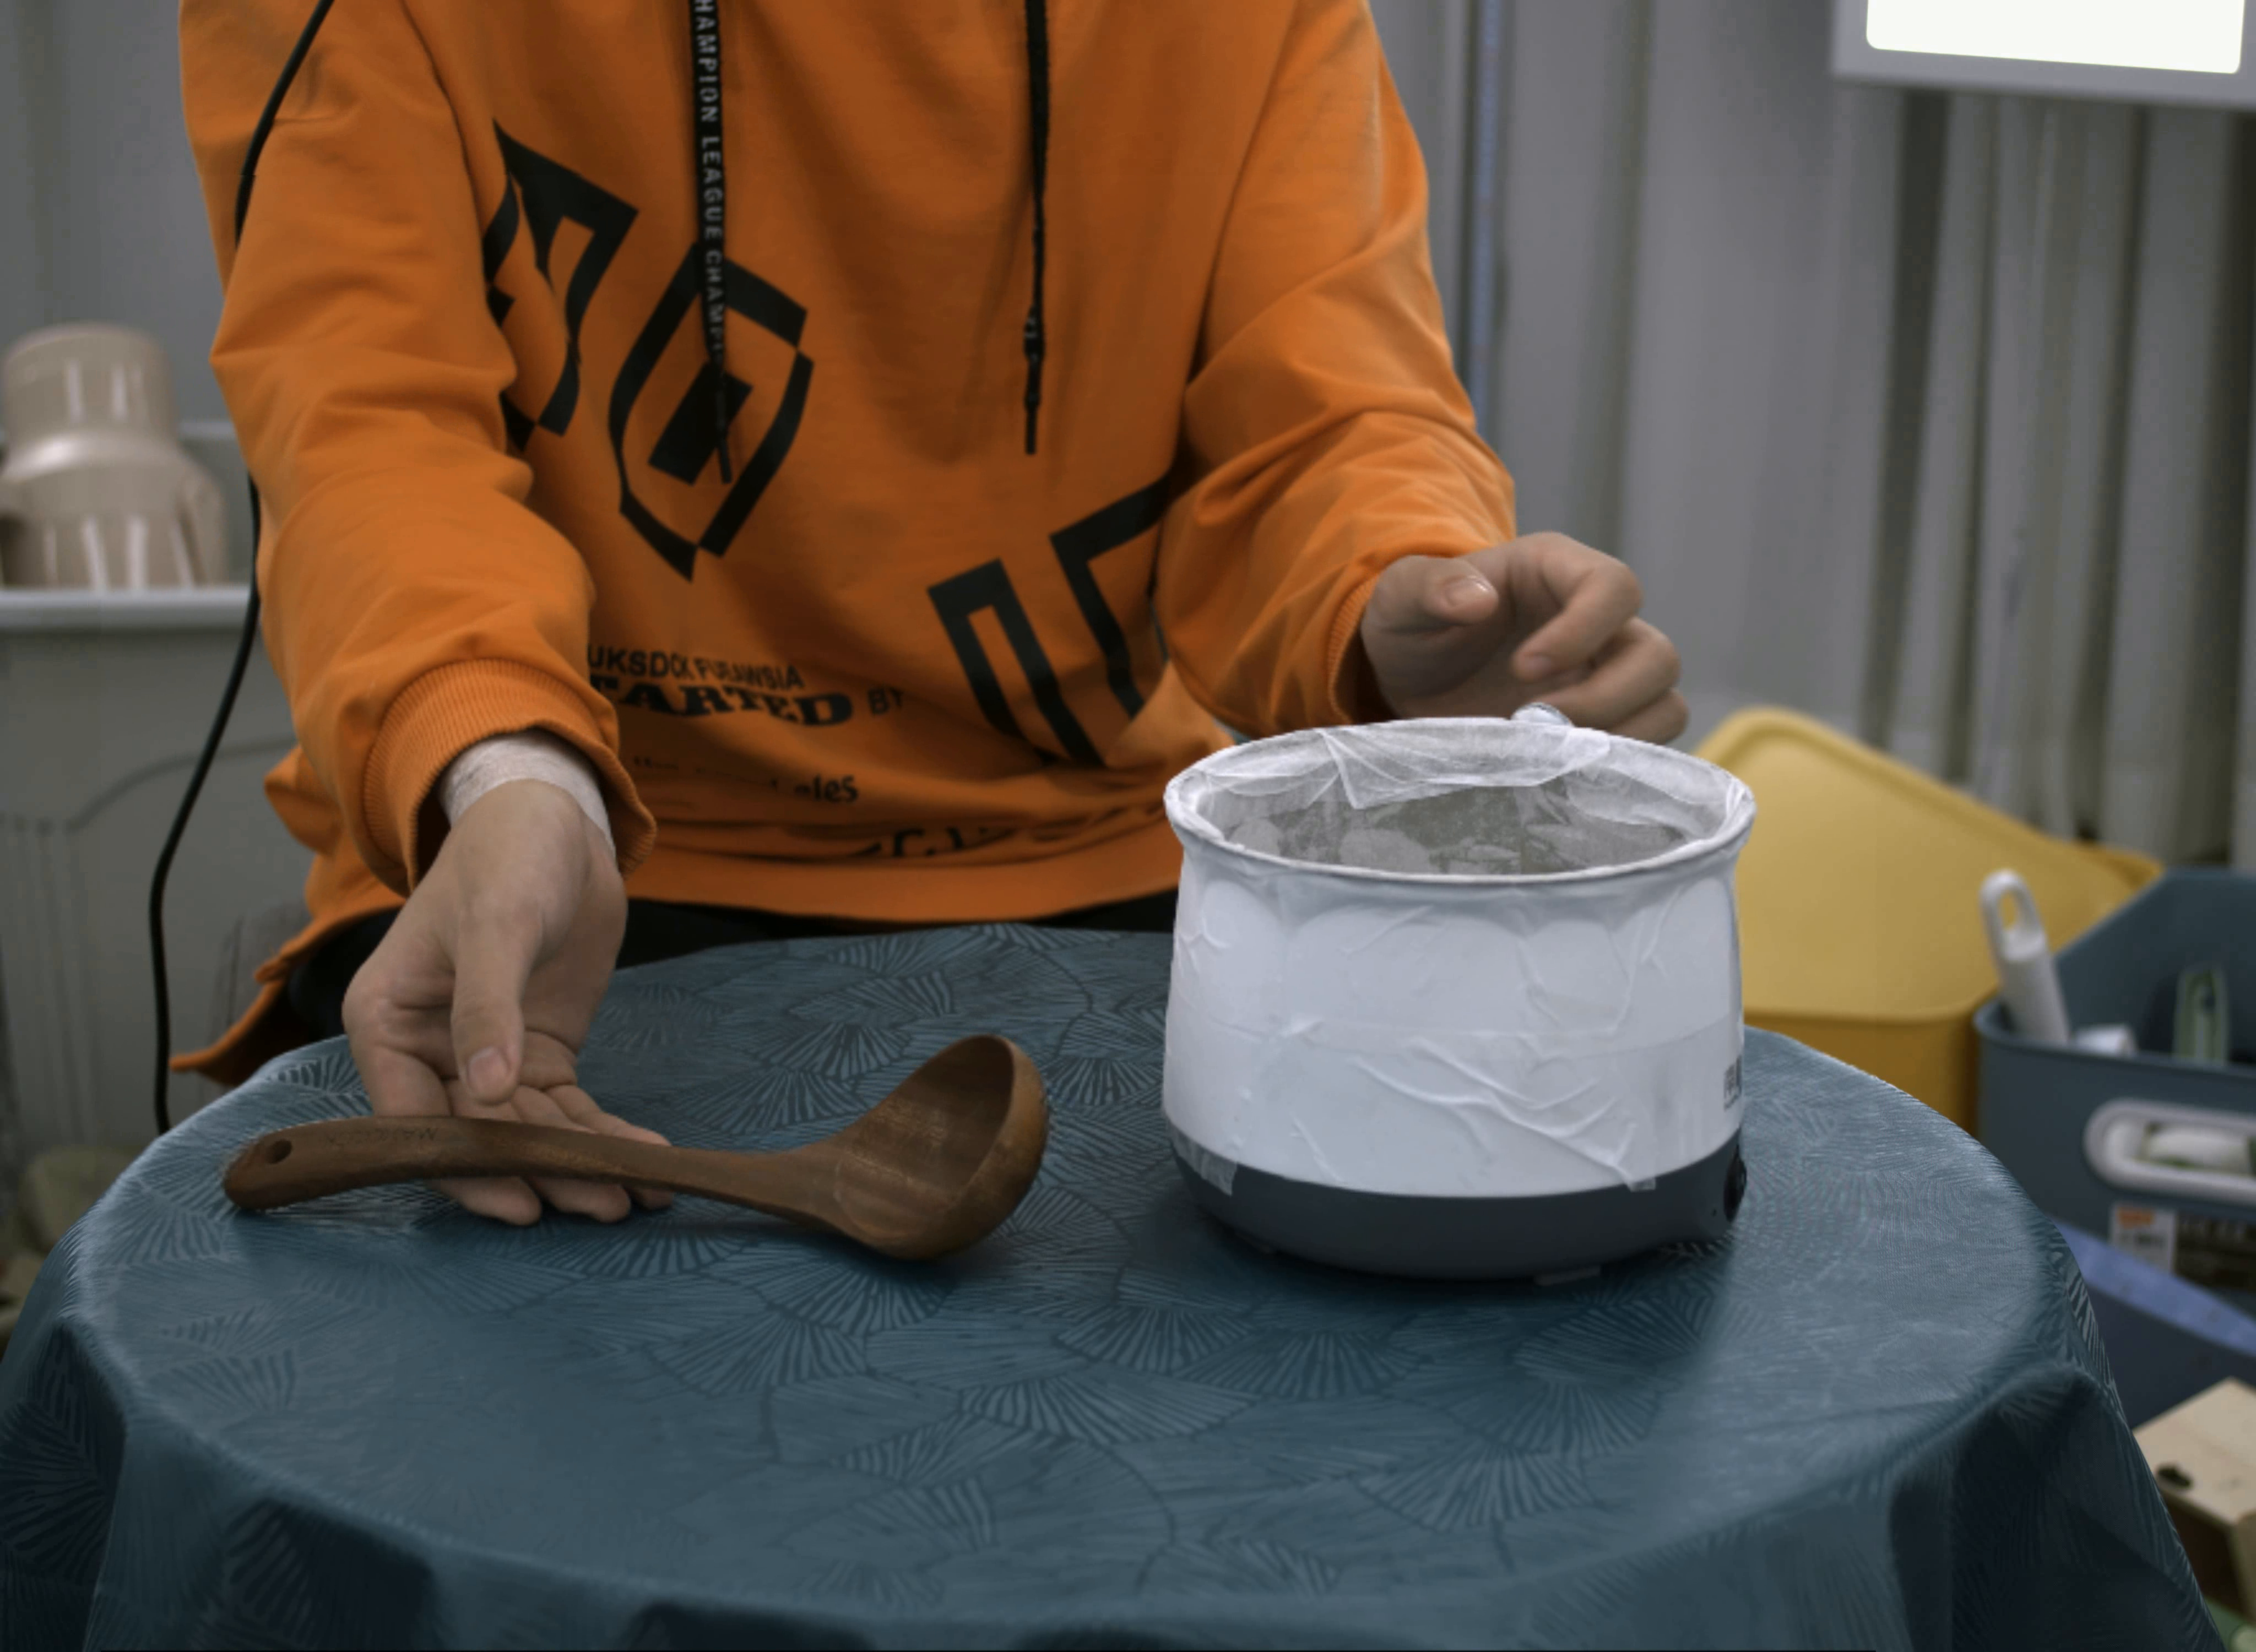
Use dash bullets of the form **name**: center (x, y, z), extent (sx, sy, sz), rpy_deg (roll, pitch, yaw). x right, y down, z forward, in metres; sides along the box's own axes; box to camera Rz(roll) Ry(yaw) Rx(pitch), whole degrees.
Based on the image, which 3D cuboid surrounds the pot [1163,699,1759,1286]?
- **pot**: center (0.107, 0.044, 1.613), extent (0.177, 0.138, 0.233), rpy_deg (5, 17, 15)

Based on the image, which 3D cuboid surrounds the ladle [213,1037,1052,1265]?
- **ladle**: center (-0.151, 0.093, 1.573), extent (0.259, 0.066, 0.076), rpy_deg (3, 40, 6)
